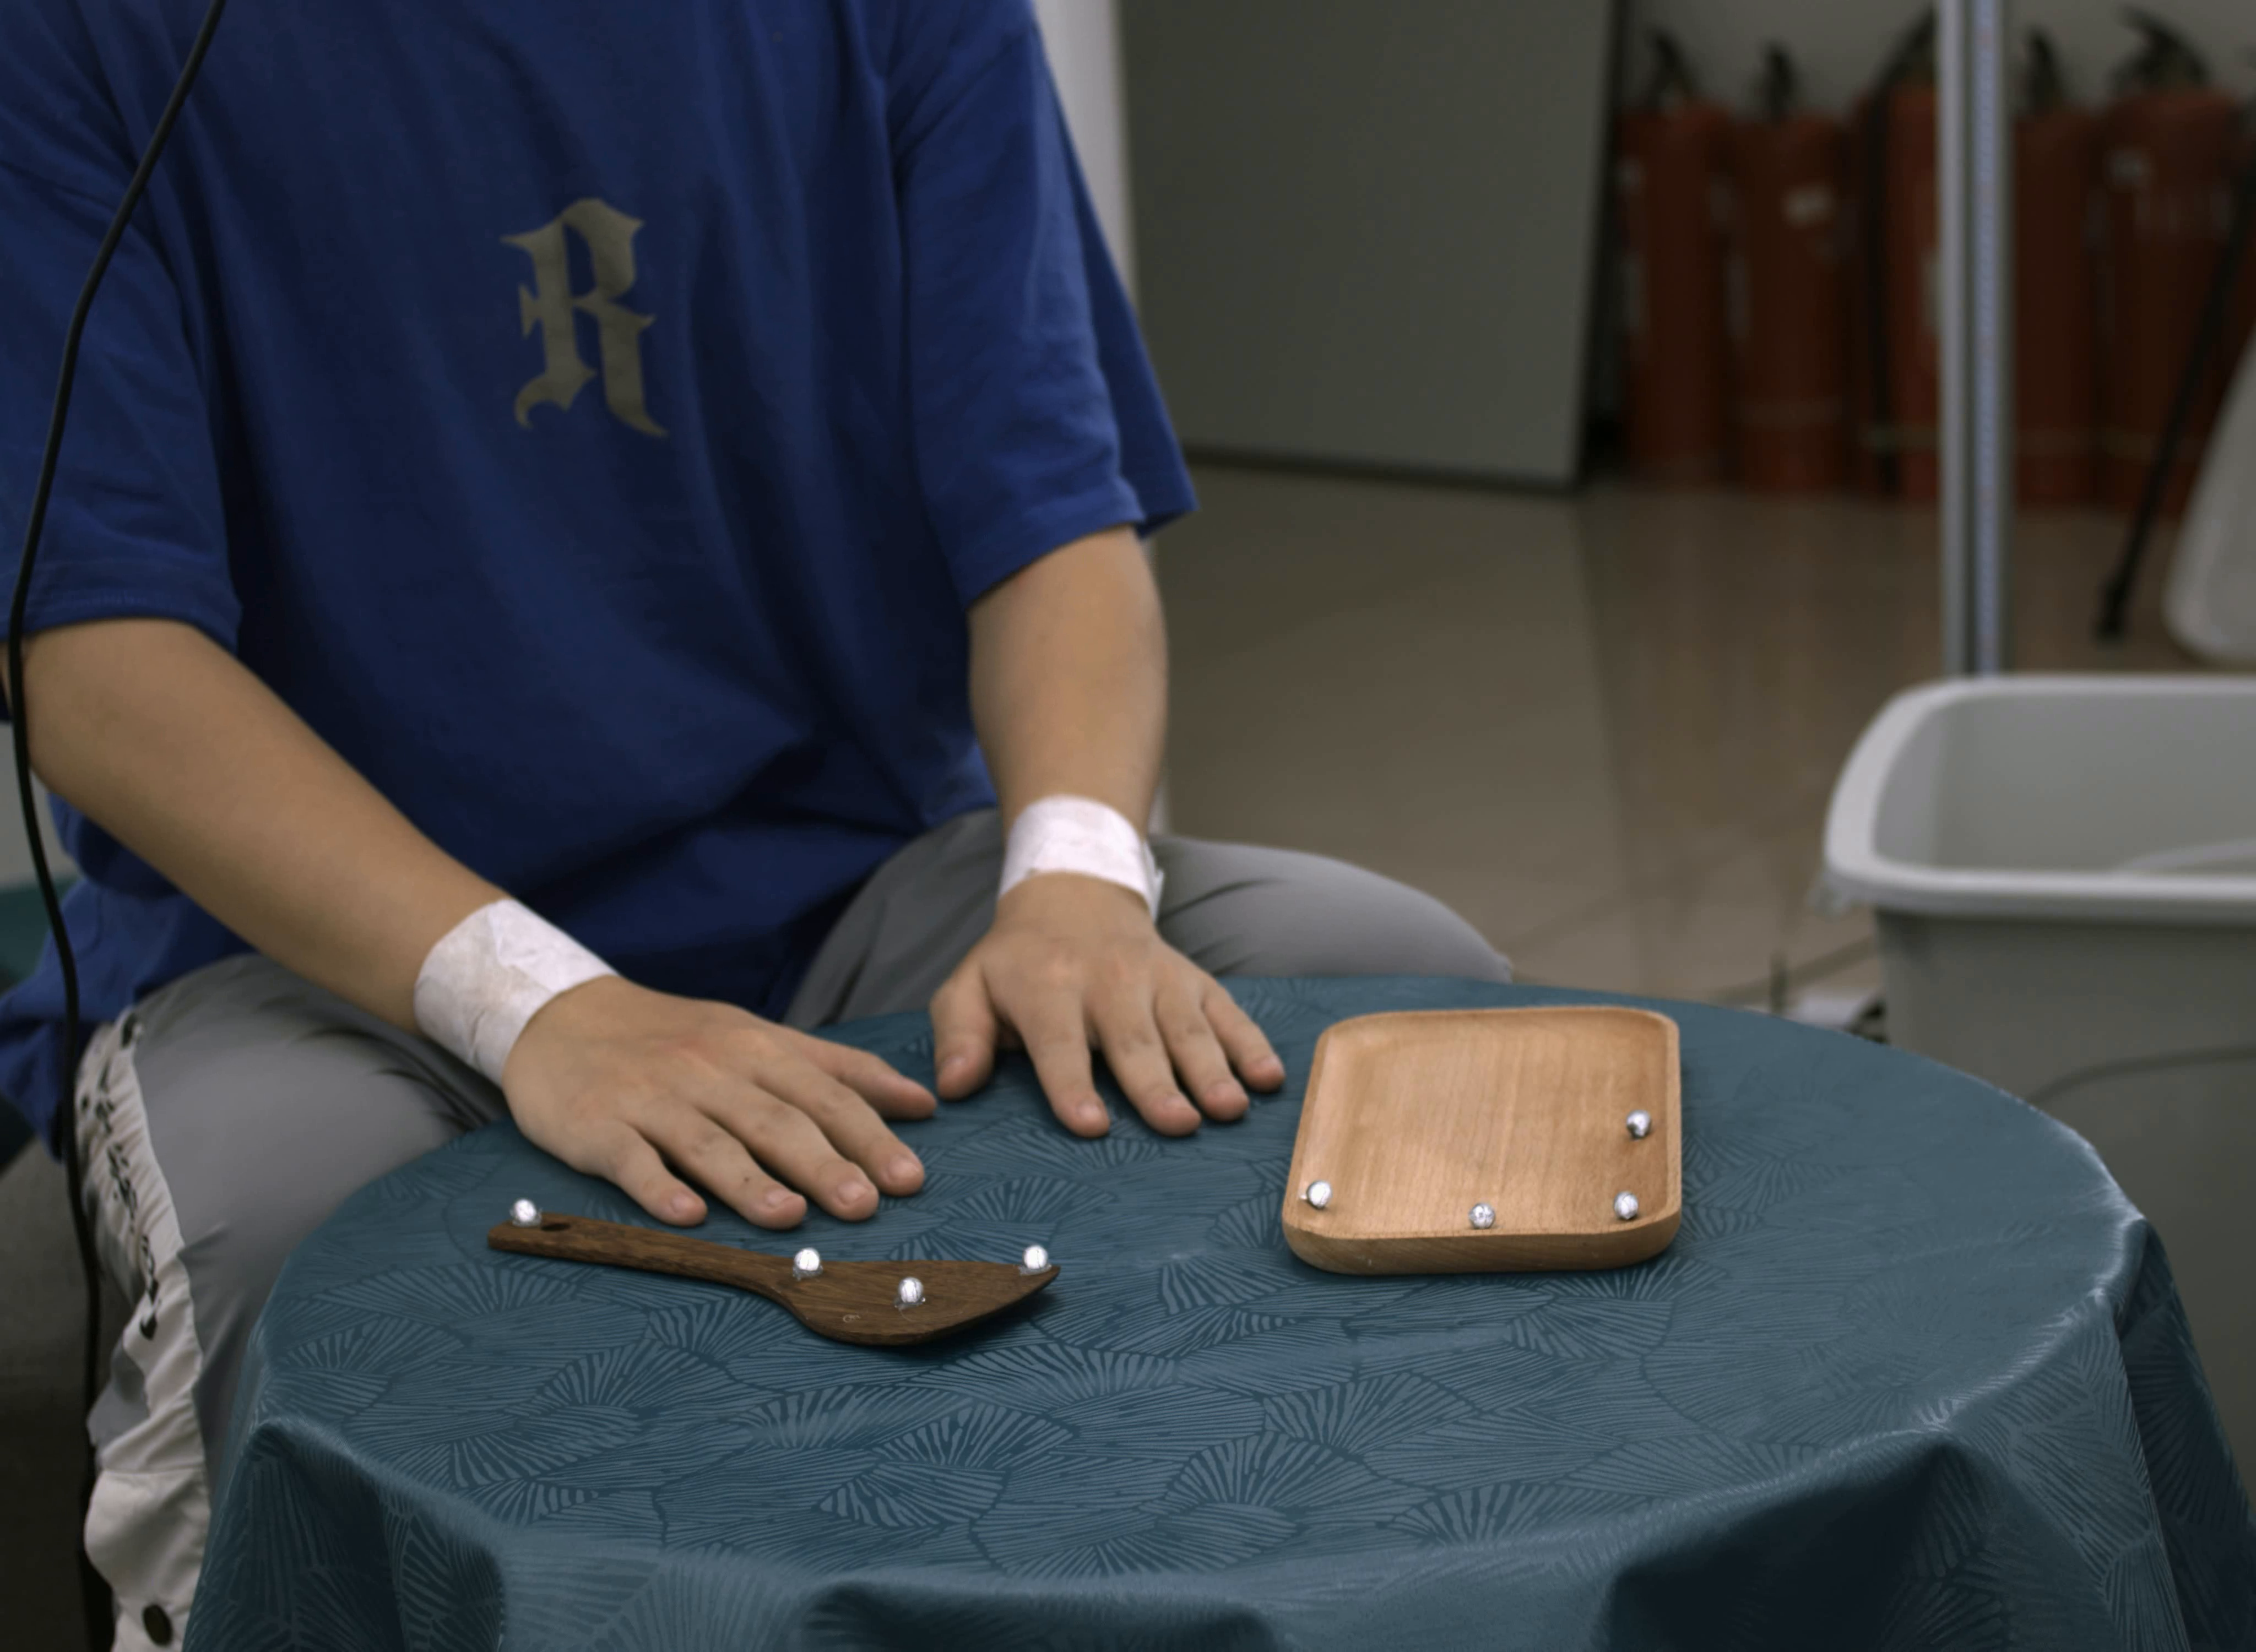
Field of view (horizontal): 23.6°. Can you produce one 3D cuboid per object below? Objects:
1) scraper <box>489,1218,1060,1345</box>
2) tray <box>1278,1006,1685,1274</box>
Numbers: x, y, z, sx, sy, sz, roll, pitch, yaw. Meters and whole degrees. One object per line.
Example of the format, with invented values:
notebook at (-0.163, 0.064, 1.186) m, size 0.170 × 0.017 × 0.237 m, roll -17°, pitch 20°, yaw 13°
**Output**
scraper at (-0.119, 0.141, 1.706) m, size 0.213 × 0.011 × 0.074 m, roll 6°, pitch 15°, yaw 37°
tray at (0.120, 0.102, 1.781) m, size 0.129 × 0.023 × 0.250 m, roll 0°, pitch 13°, yaw 7°
